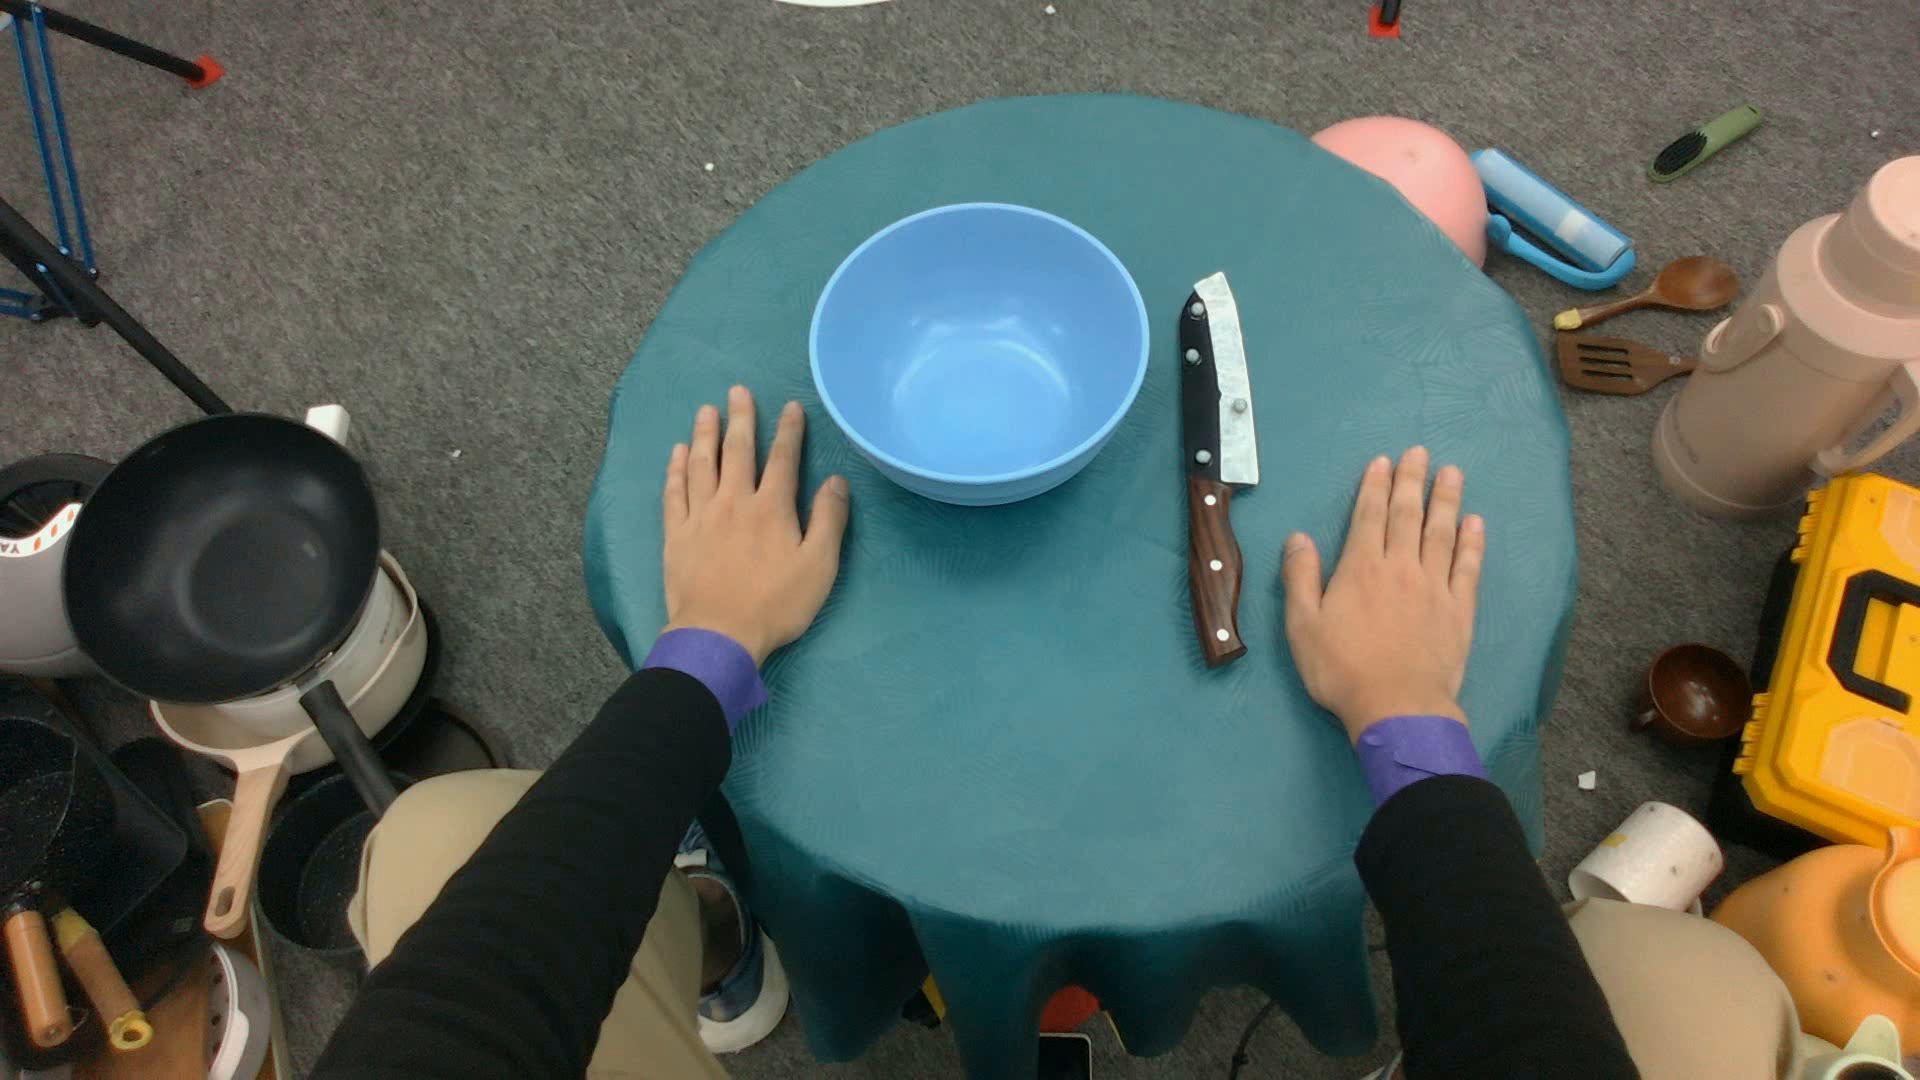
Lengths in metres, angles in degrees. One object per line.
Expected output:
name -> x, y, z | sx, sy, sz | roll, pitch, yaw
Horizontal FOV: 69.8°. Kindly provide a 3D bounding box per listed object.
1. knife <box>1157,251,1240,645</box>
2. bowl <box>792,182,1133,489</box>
knife -> 0.147, -0.067, 0.848 | 0.050, 0.020, 0.290 | 5, 61, -1
bowl -> 0.002, -0.108, 0.833 | 0.196, 0.095, 0.197 | 0, 65, 1
